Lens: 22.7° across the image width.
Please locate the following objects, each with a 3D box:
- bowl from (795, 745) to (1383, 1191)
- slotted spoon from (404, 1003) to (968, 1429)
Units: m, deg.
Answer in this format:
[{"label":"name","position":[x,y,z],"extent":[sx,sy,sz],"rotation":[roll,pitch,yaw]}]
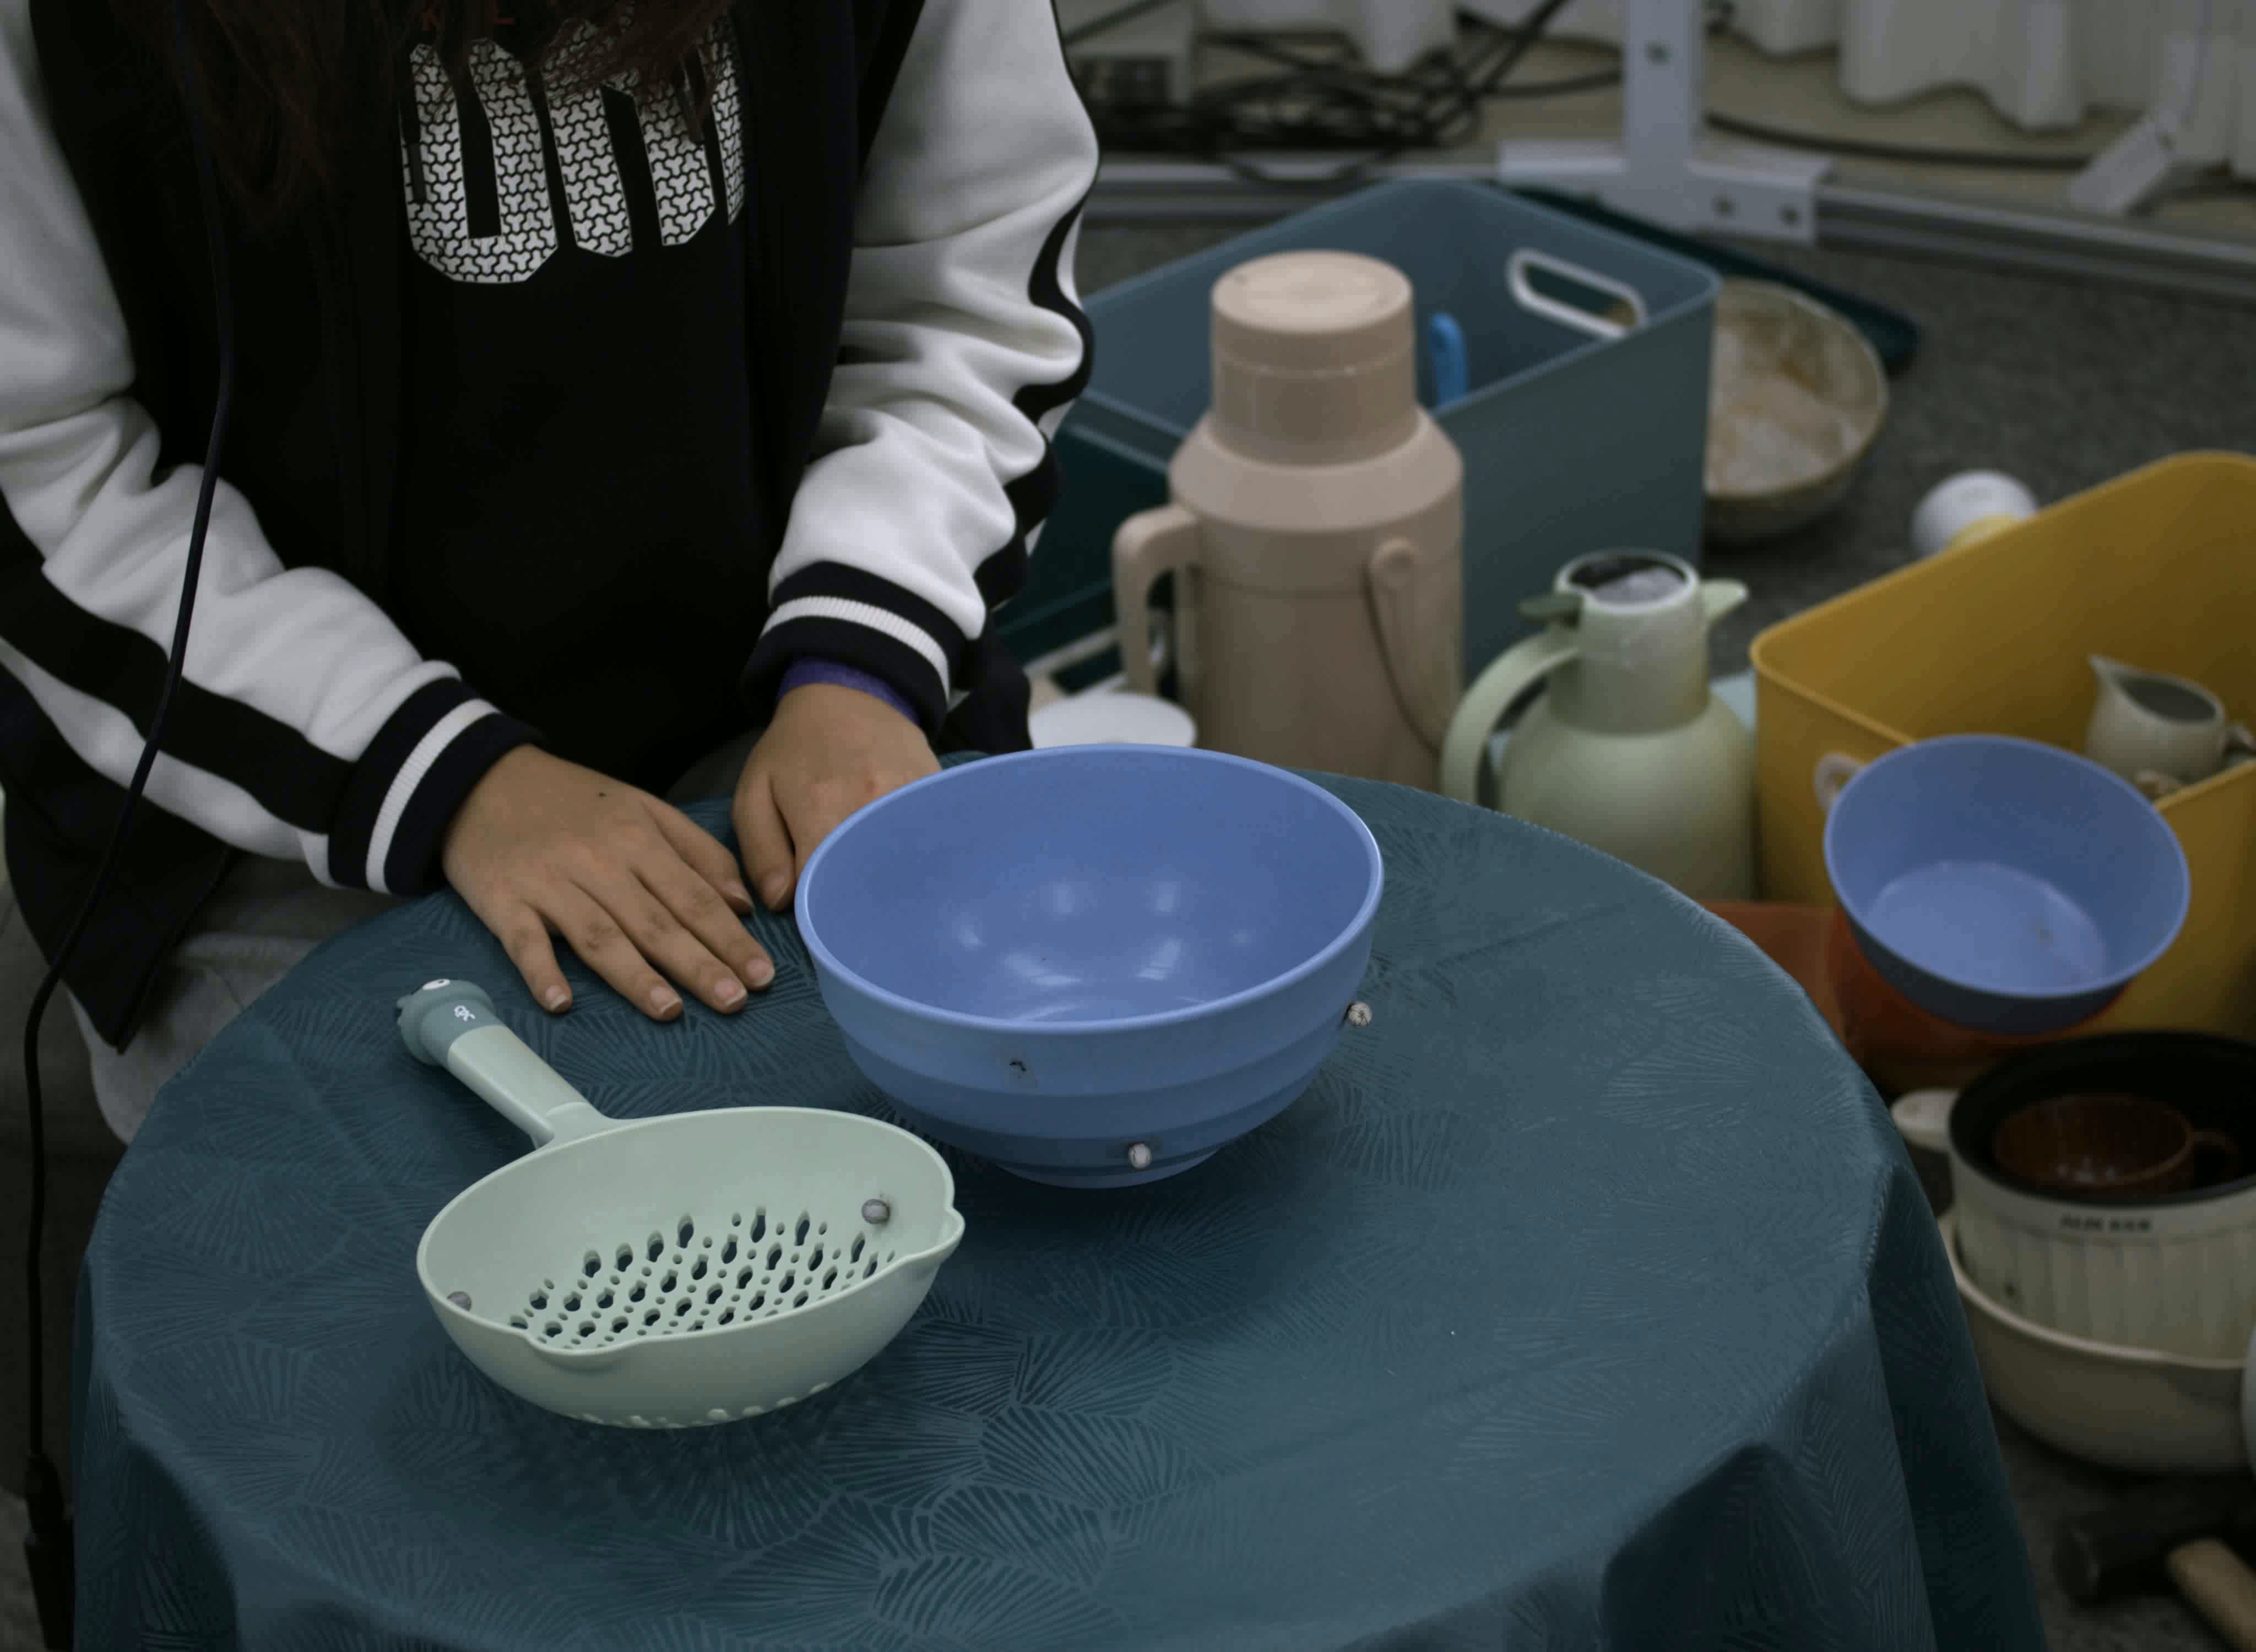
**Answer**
[{"label":"bowl","position":[-0.010,0.059,1.883],"extent":[0.195,0.094,0.199],"rotation":[-3,27,2]},{"label":"slotted spoon","position":[-0.177,0.111,1.838],"extent":[0.170,0.074,0.360],"rotation":[-14,27,-22]}]
